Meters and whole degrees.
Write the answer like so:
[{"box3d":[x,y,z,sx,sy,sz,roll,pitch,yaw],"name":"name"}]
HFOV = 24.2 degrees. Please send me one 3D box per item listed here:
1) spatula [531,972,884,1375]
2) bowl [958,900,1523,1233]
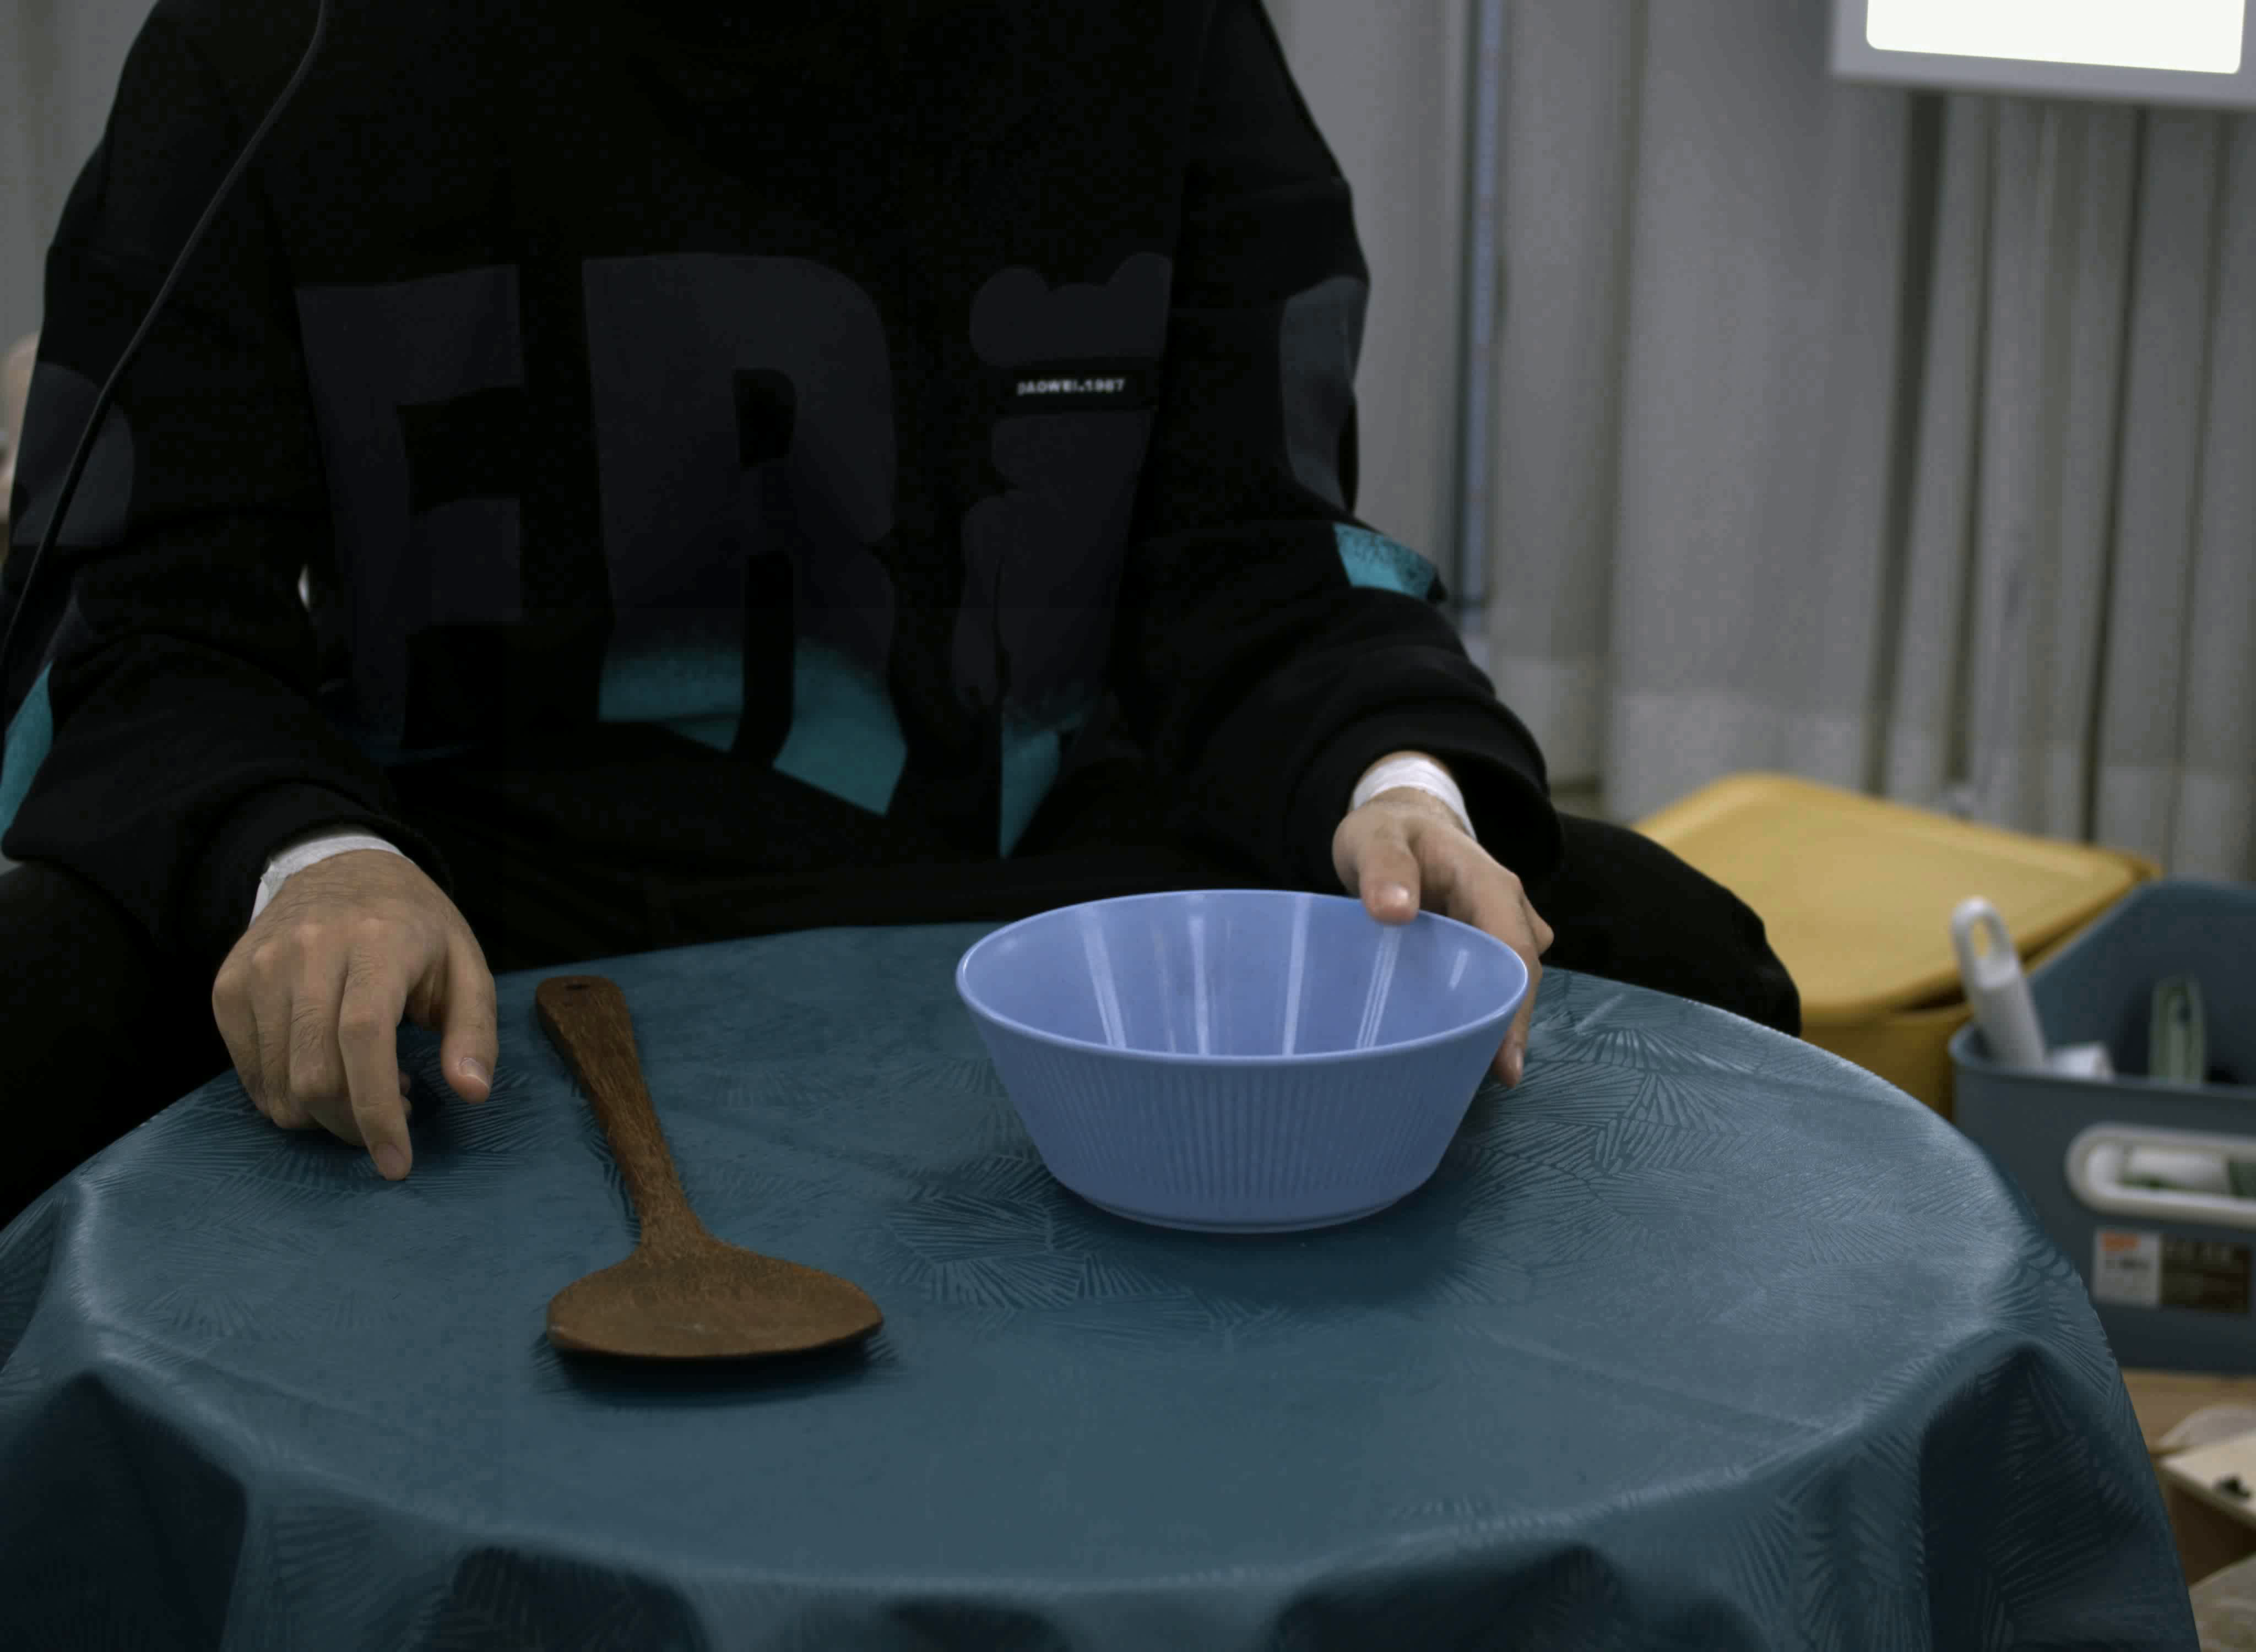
[{"box3d":[-0.151,0.101,1.635,0.096,0.016,0.382,-2,16,-12],"name":"spatula"},{"box3d":[0.035,0.077,1.629,0.175,0.071,0.175,0,15,0],"name":"bowl"}]
